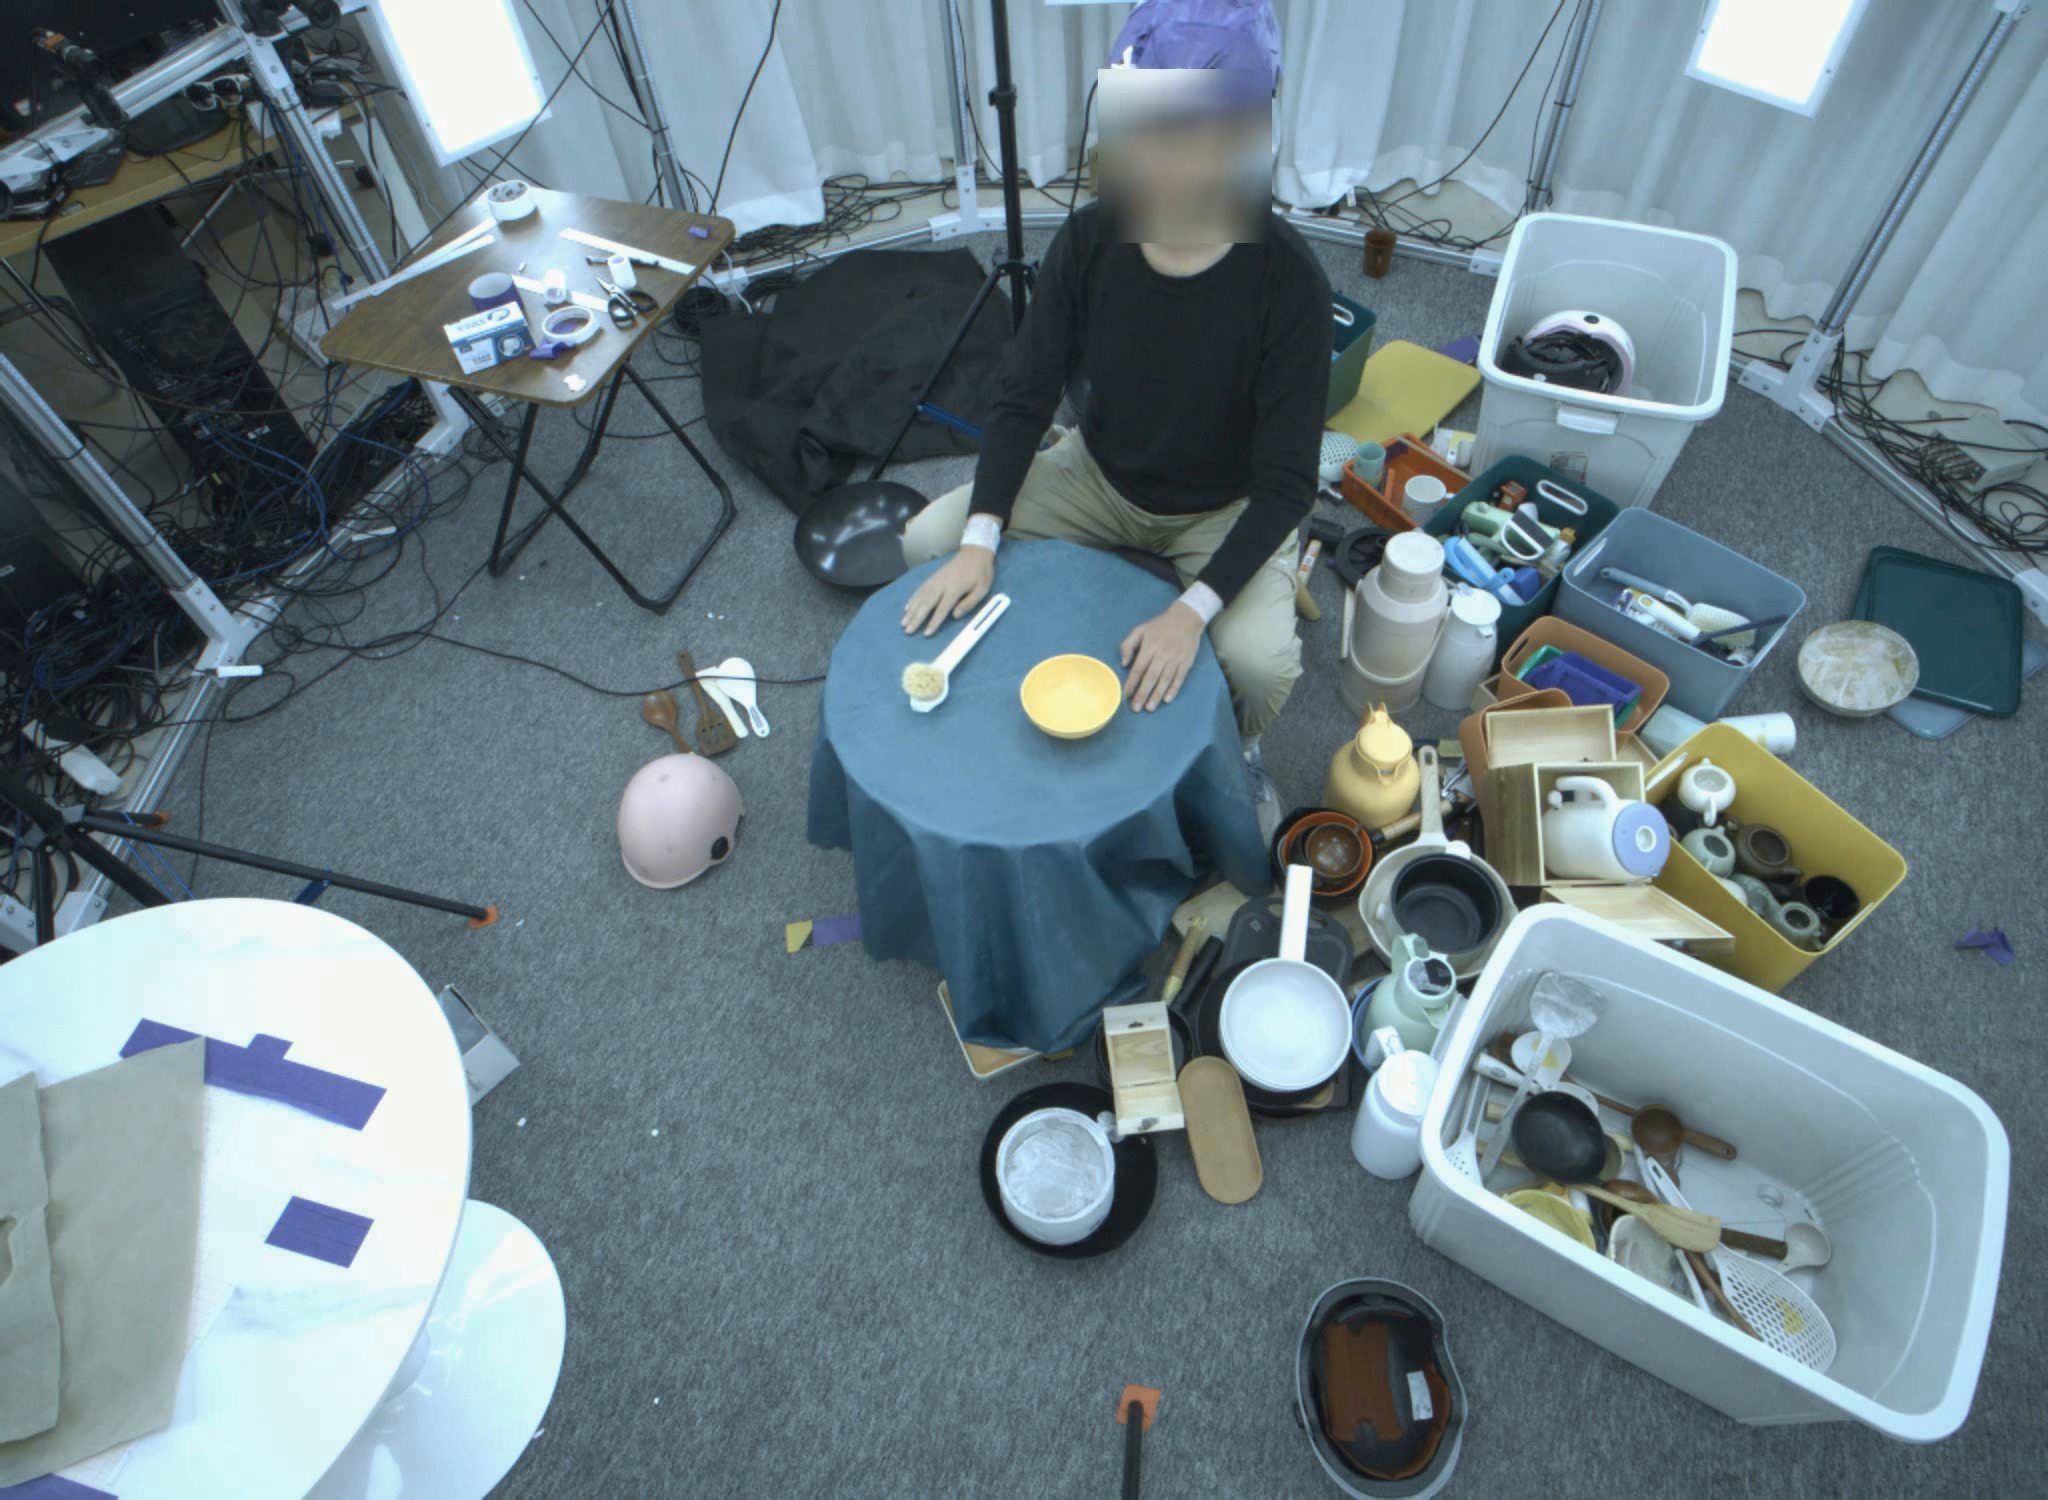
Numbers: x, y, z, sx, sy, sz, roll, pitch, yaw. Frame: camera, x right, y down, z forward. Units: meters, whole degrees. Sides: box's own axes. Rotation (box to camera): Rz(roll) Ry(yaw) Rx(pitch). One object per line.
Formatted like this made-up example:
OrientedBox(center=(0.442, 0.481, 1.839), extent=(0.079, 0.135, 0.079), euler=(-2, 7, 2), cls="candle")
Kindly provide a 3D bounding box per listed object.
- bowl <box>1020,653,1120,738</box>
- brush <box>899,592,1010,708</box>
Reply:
OrientedBox(center=(0.068, -0.068, 1.797), extent=(0.145, 0.061, 0.144), euler=(0, 55, 1), cls="bowl")
OrientedBox(center=(-0.101, -0.170, 1.879), extent=(0.068, 0.056, 0.267), euler=(28, 59, 15), cls="brush")
